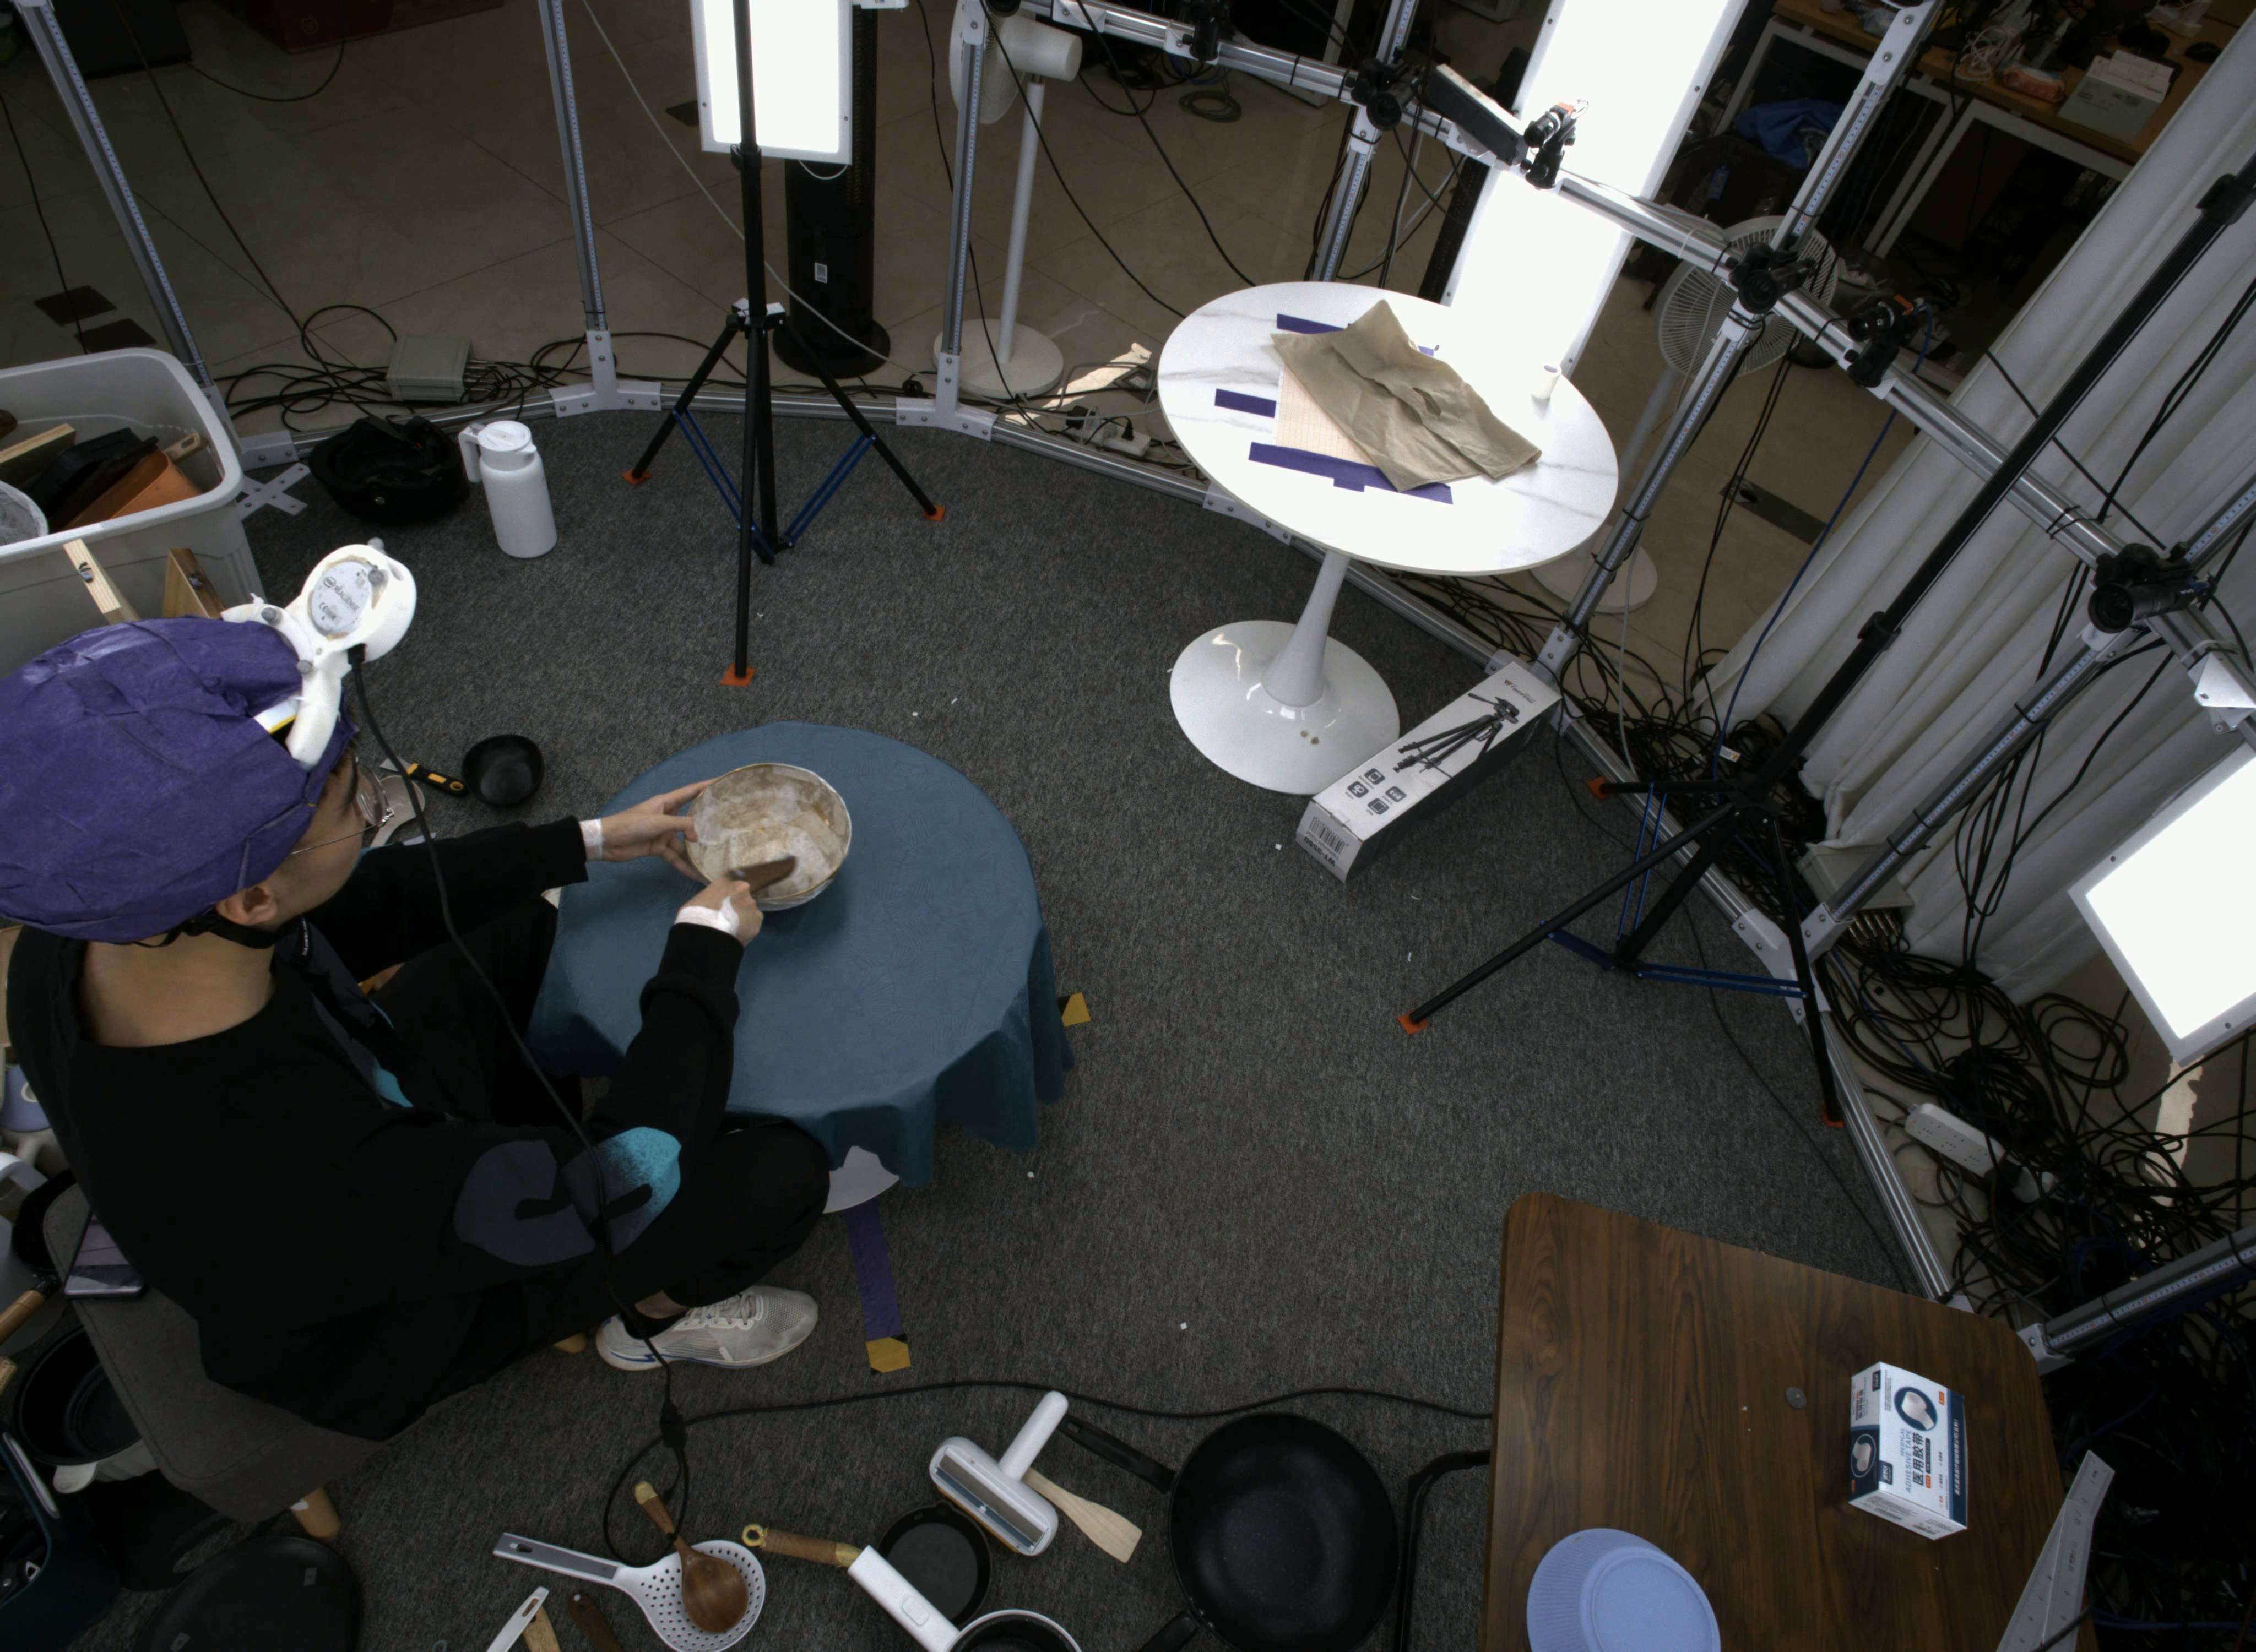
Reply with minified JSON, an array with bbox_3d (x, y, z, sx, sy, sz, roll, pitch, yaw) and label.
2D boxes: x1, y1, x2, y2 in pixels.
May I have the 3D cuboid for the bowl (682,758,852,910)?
[{"bbox_3d":[-0.455,0.024,1.635,0.215,0.096,0.212,7,60,-11],"label":"bowl"}]

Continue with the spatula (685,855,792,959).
[{"bbox_3d":[-0.447,0.084,1.455,0.095,0.016,0.379,-9,12,-5],"label":"spatula"}]
